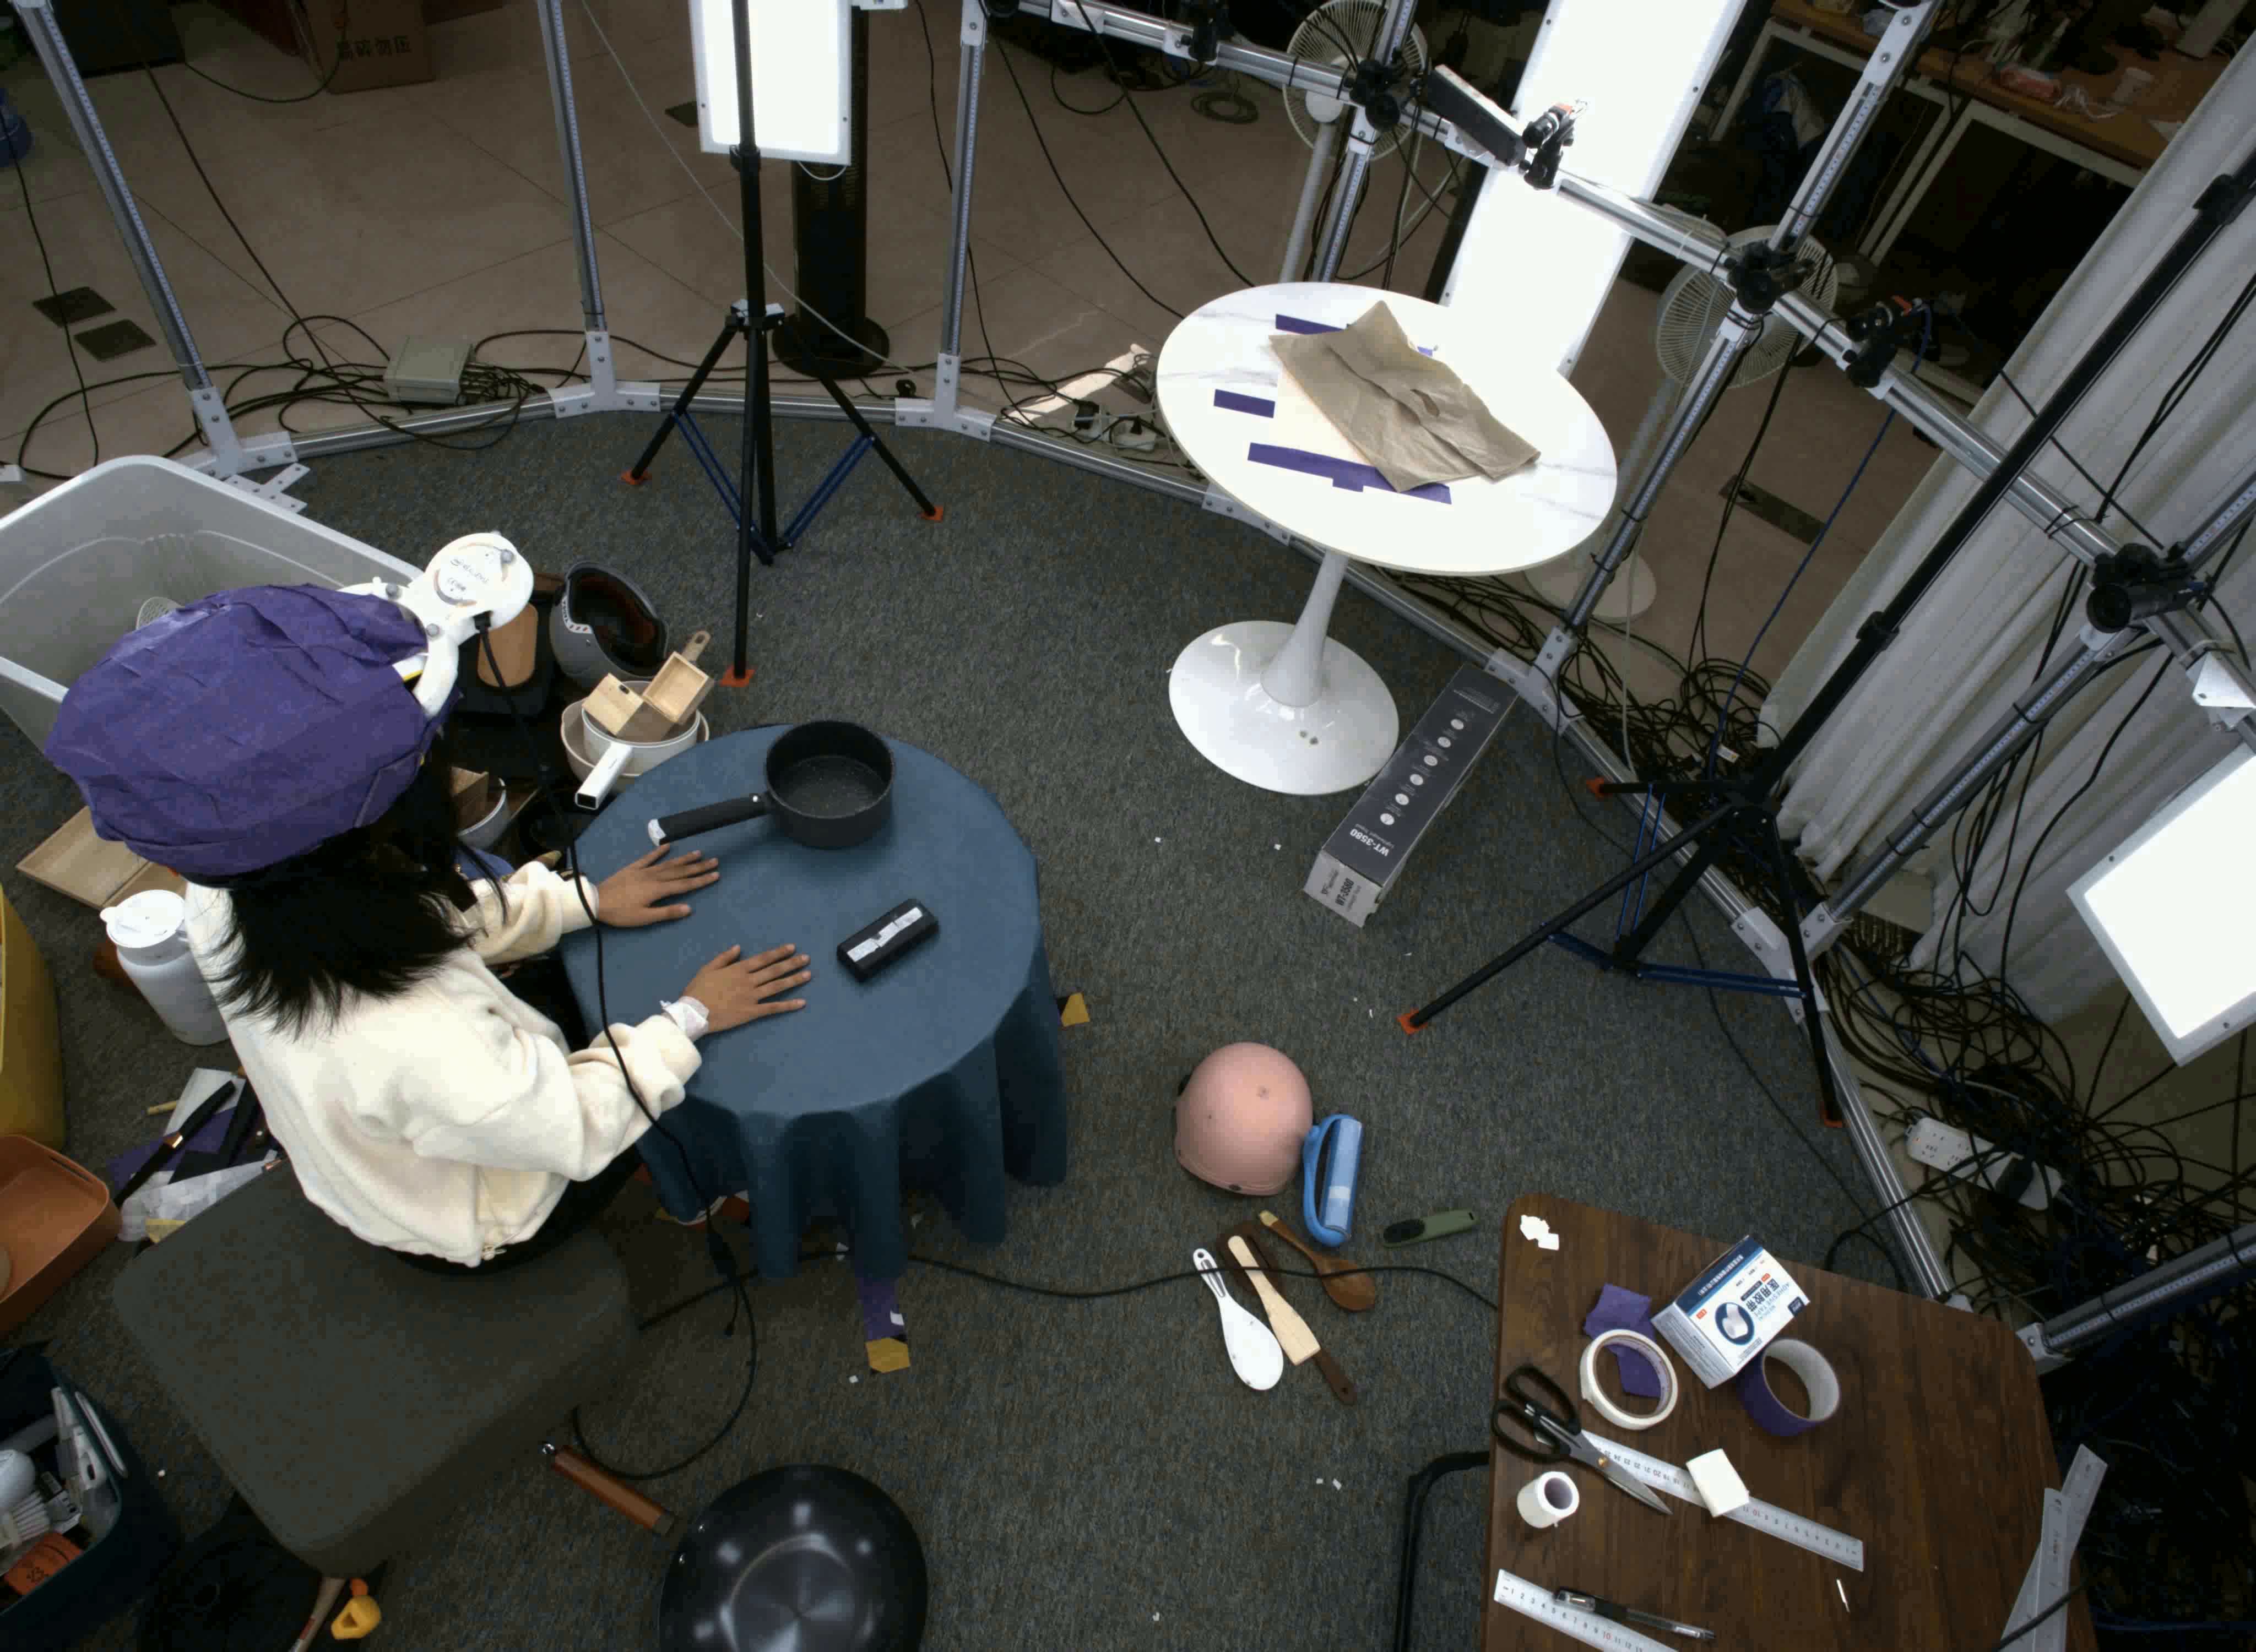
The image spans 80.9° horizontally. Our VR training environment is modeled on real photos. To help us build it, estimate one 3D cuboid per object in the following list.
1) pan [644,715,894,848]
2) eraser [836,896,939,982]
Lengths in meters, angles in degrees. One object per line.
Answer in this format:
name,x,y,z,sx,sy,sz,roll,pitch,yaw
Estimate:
pan,-0.462,-0.033,1.679,0.330,0.088,0.167,-21,61,-29
eraser,-0.301,0.138,1.631,0.052,0.031,0.126,42,57,19
